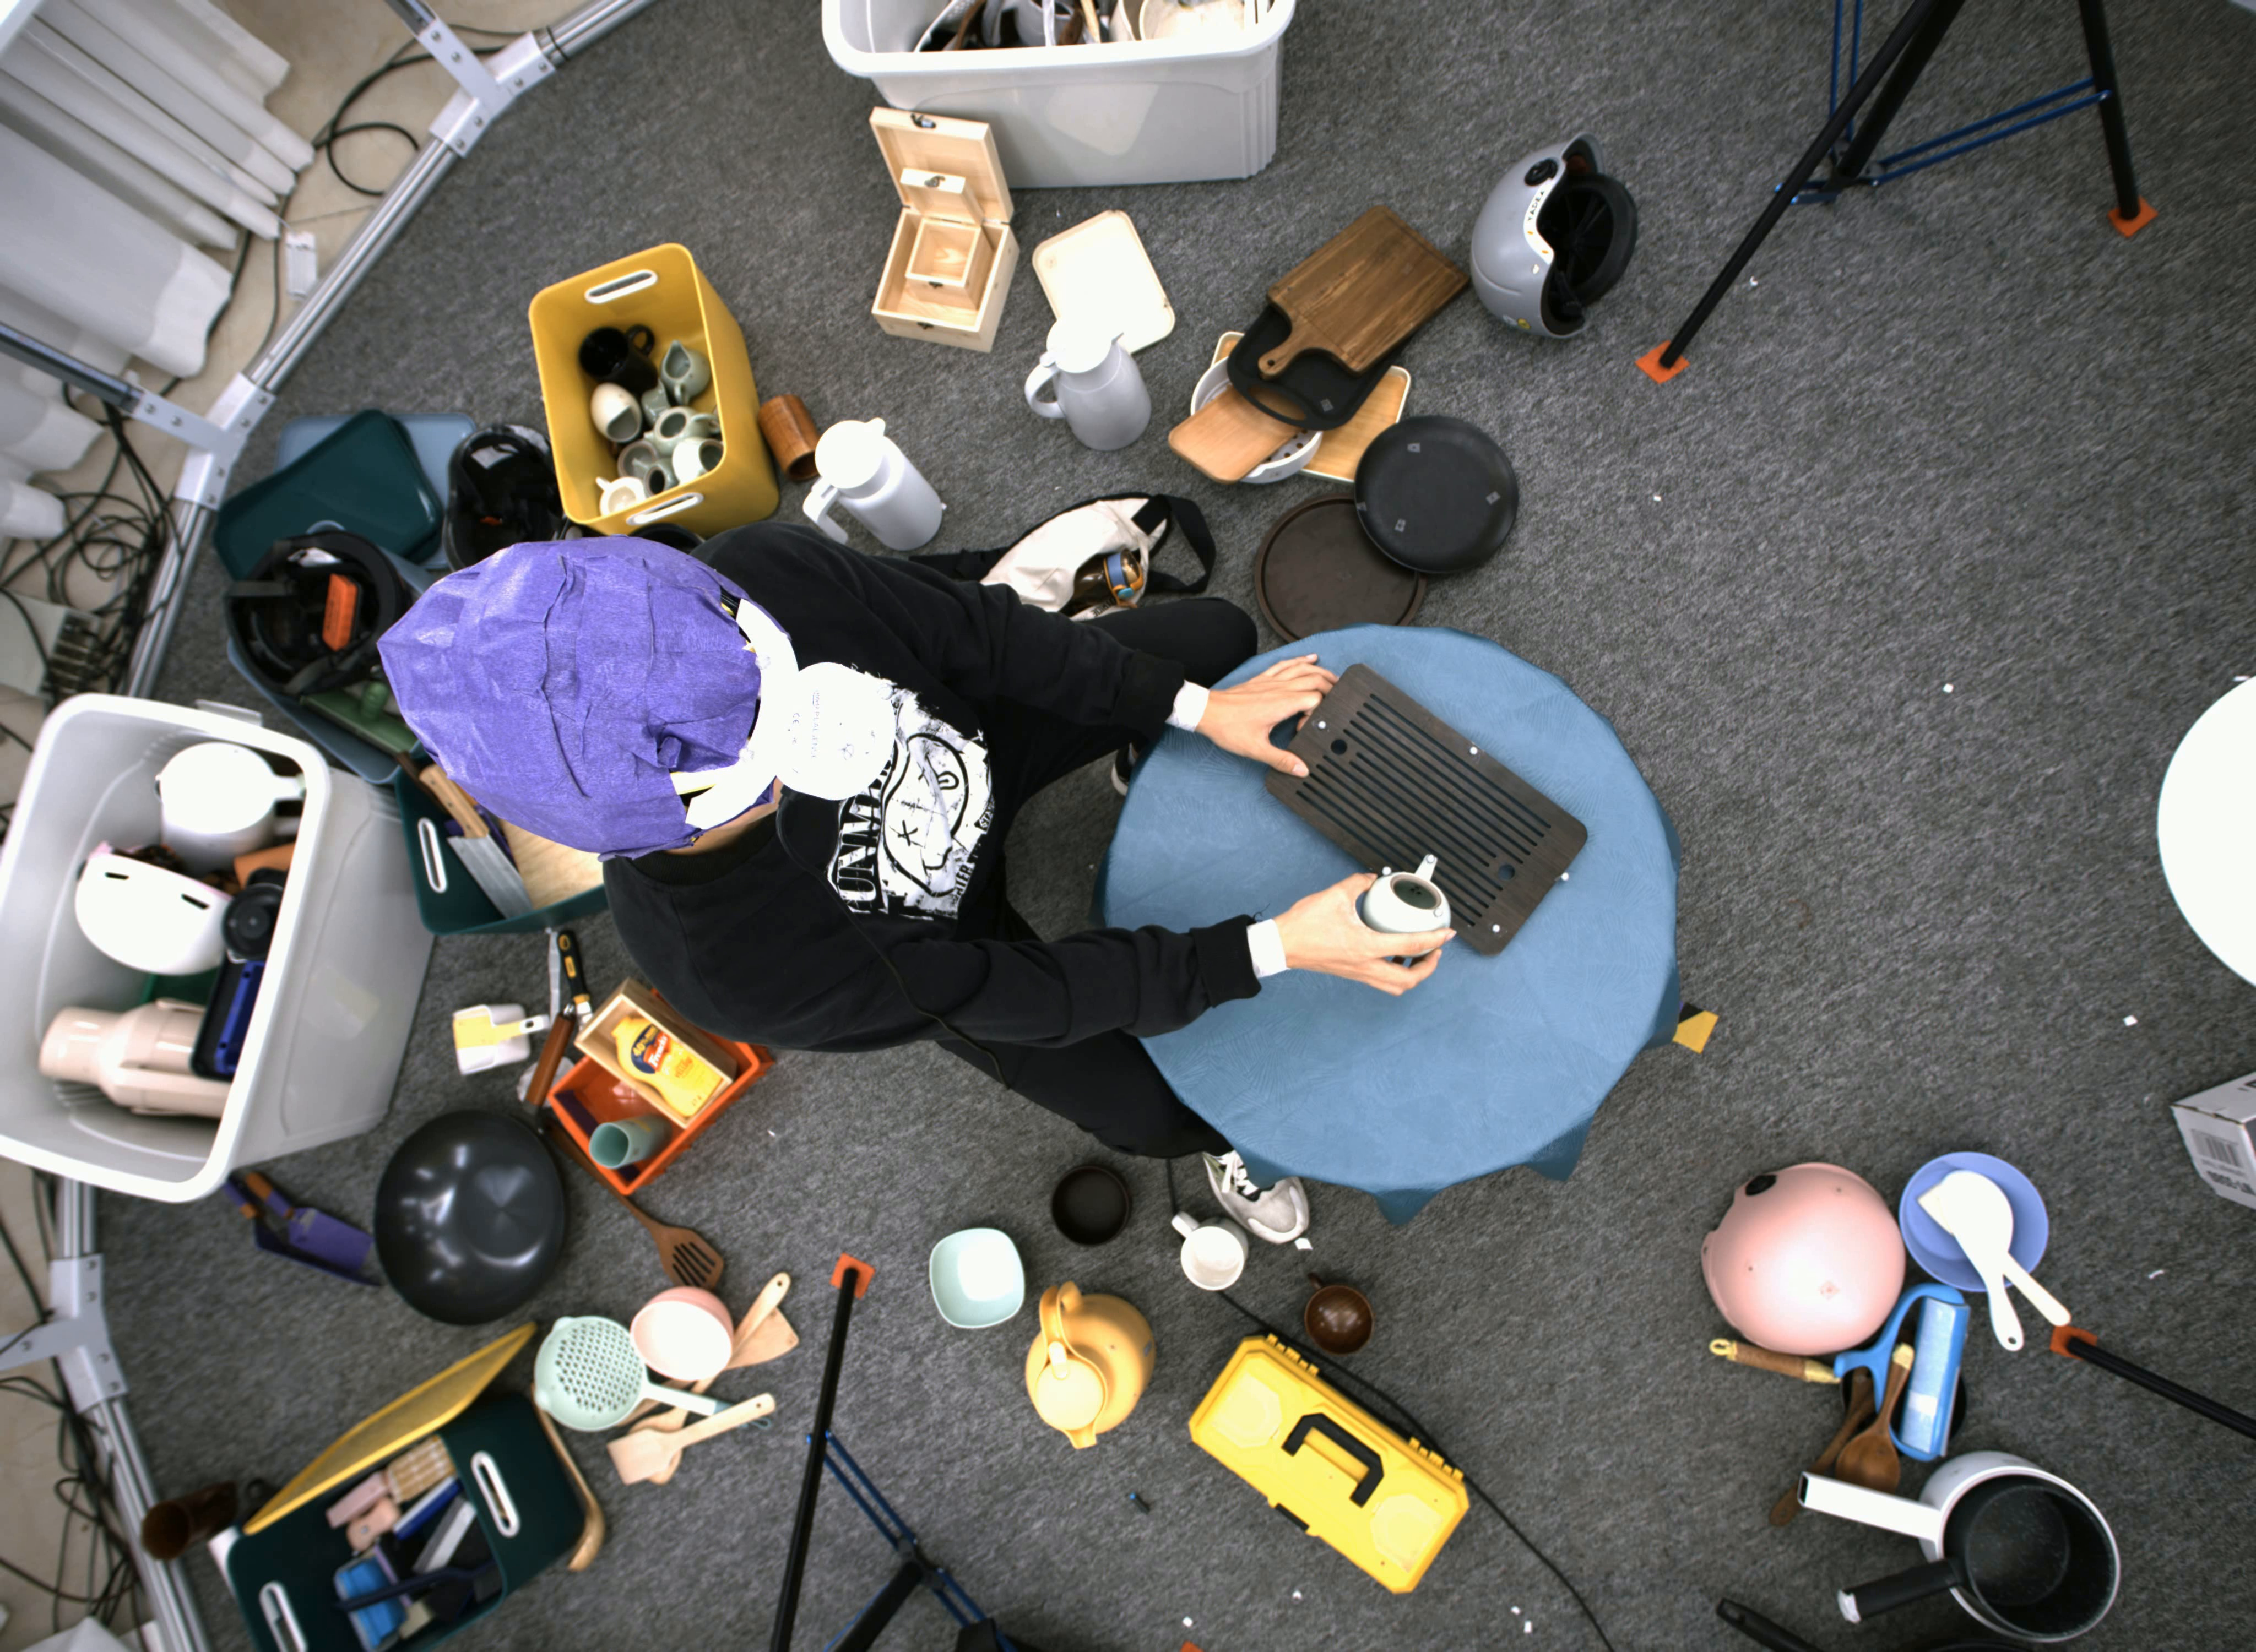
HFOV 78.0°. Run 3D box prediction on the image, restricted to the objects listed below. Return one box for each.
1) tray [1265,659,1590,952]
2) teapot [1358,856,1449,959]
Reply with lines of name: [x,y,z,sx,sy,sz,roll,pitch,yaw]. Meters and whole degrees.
tray: [0.310,-0.024,1.437,0.305,0.018,0.171,38,97,7]
teapot: [0.269,0.085,1.347,0.088,0.140,0.076,27,125,13]
